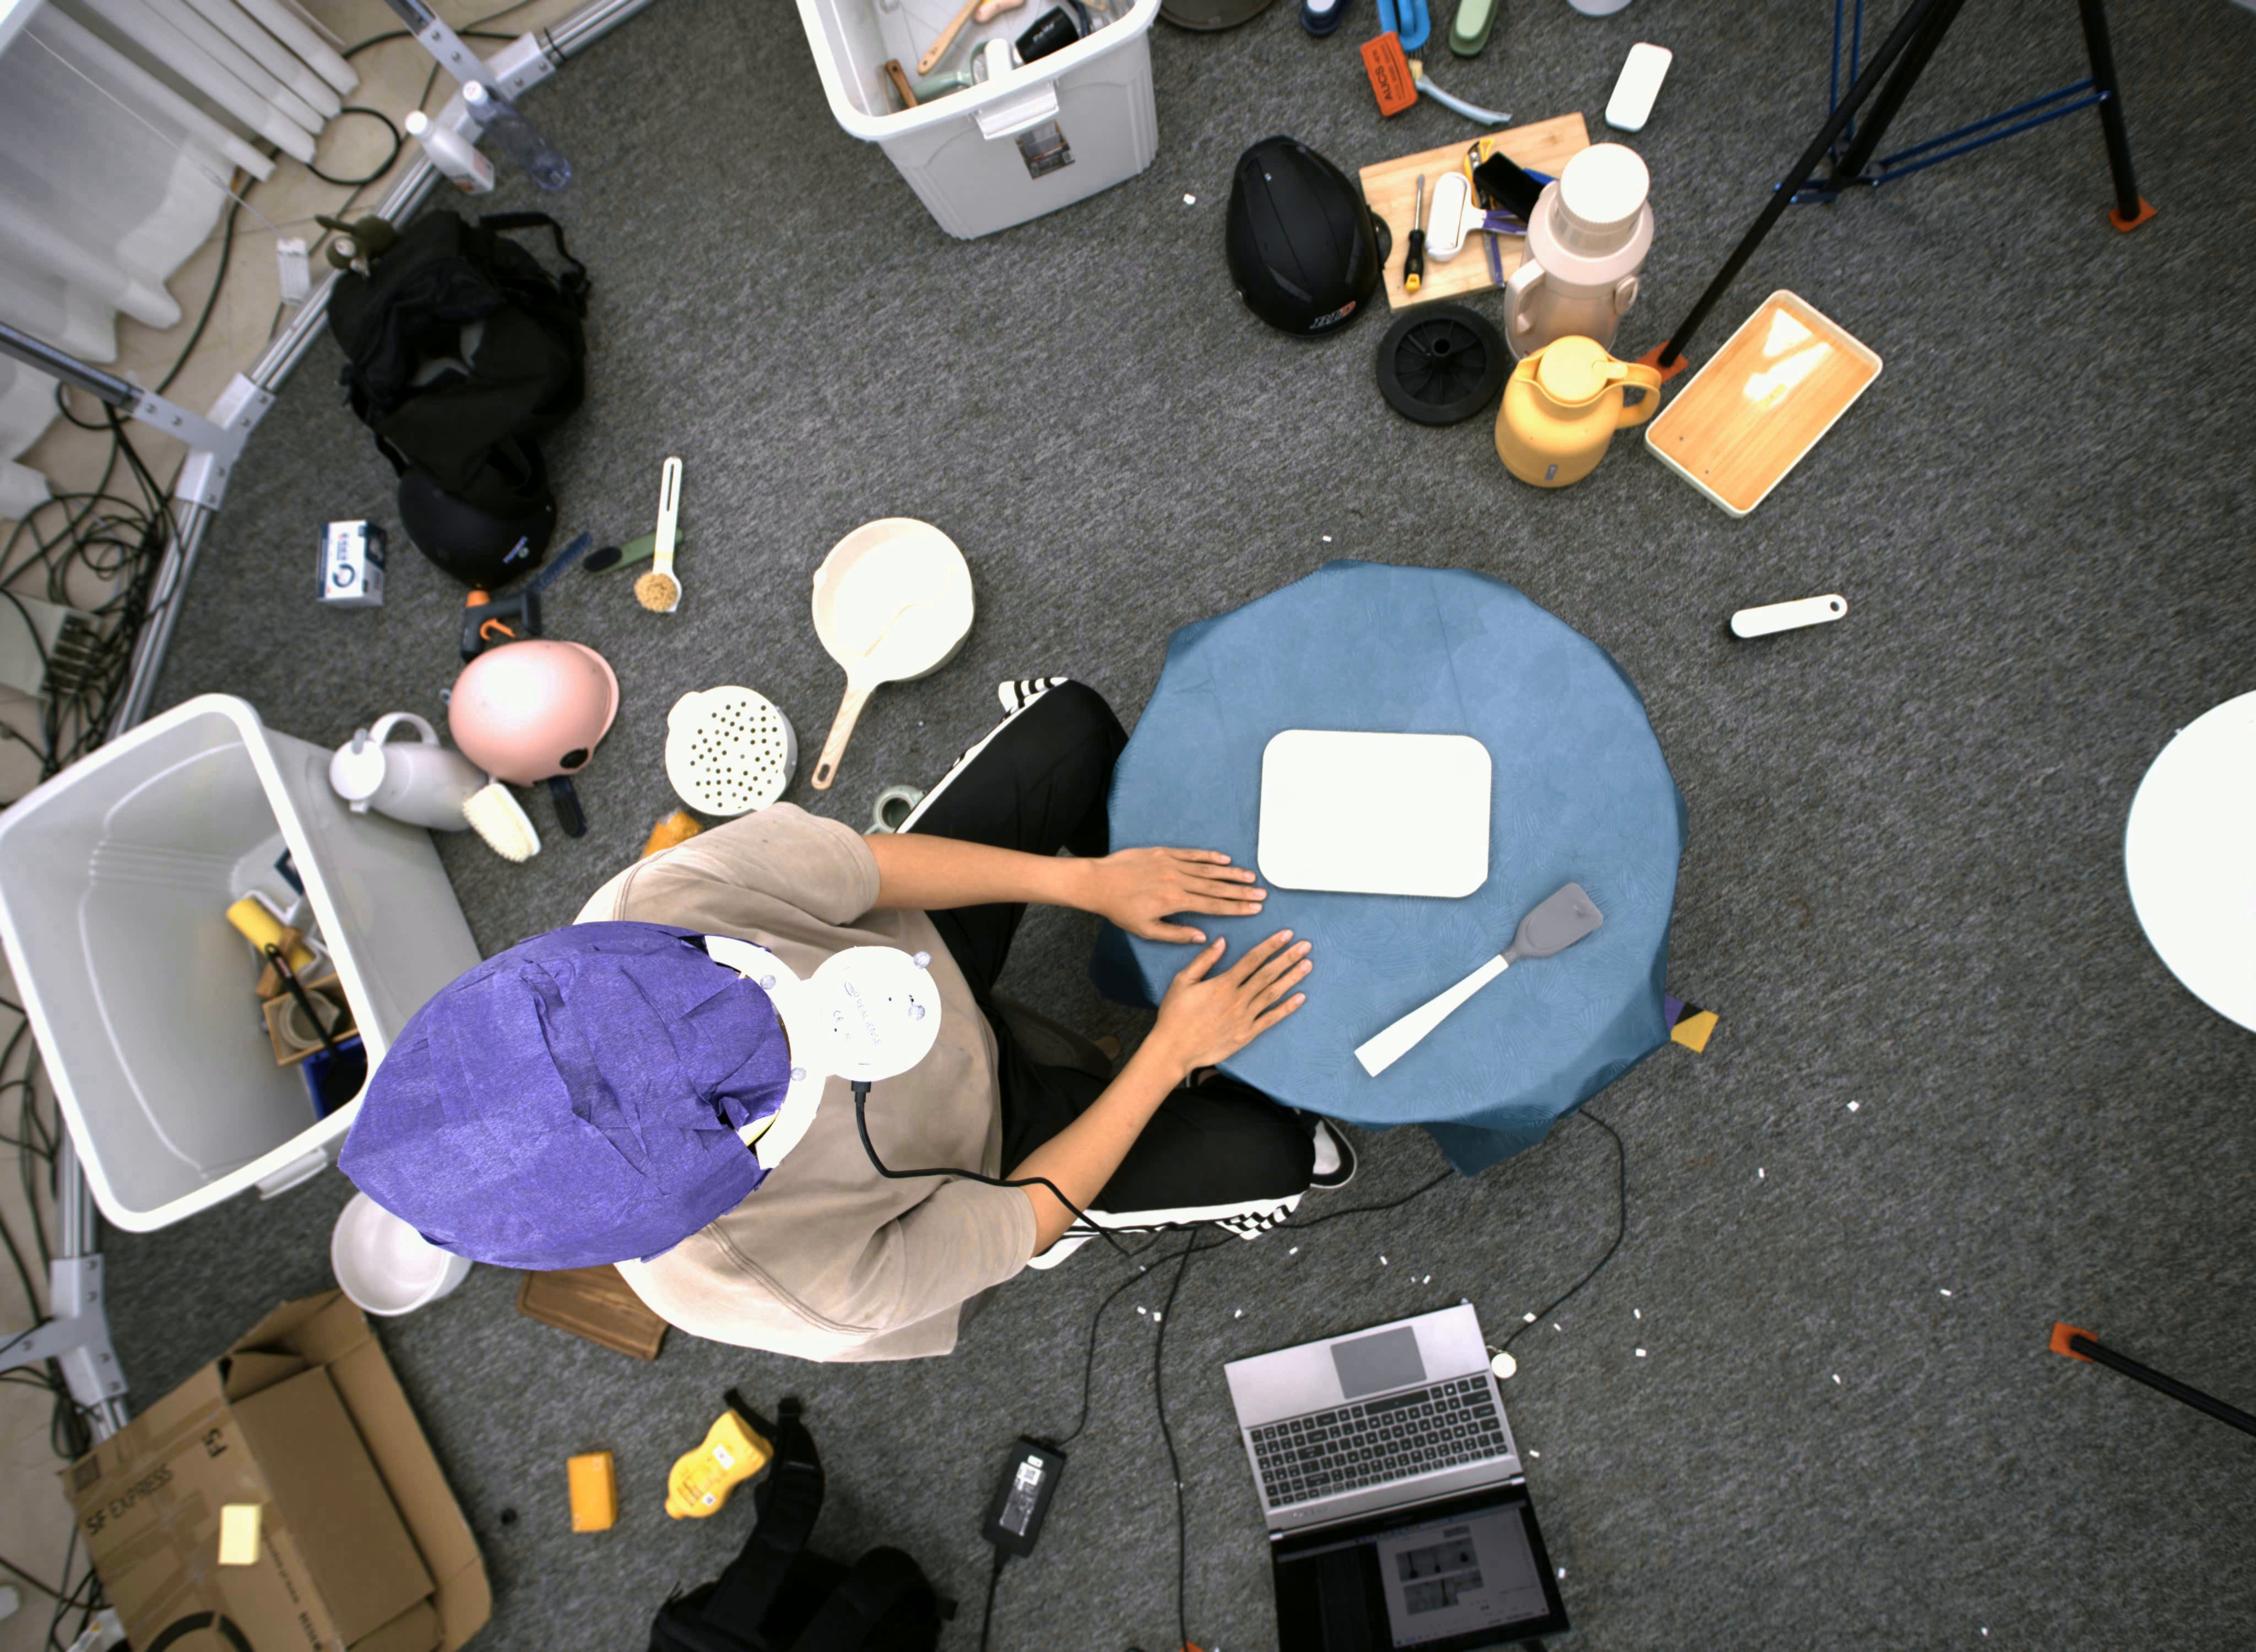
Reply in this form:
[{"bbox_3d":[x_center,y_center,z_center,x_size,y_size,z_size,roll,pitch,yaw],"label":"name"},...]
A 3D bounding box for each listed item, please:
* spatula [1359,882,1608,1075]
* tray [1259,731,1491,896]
[{"bbox_3d":[0.362,0.158,1.421,0.289,0.032,0.058,-37,77,6],"label":"spatula"},{"bbox_3d":[0.261,-0.015,1.459,0.240,0.017,0.170,3,86,11],"label":"tray"}]
